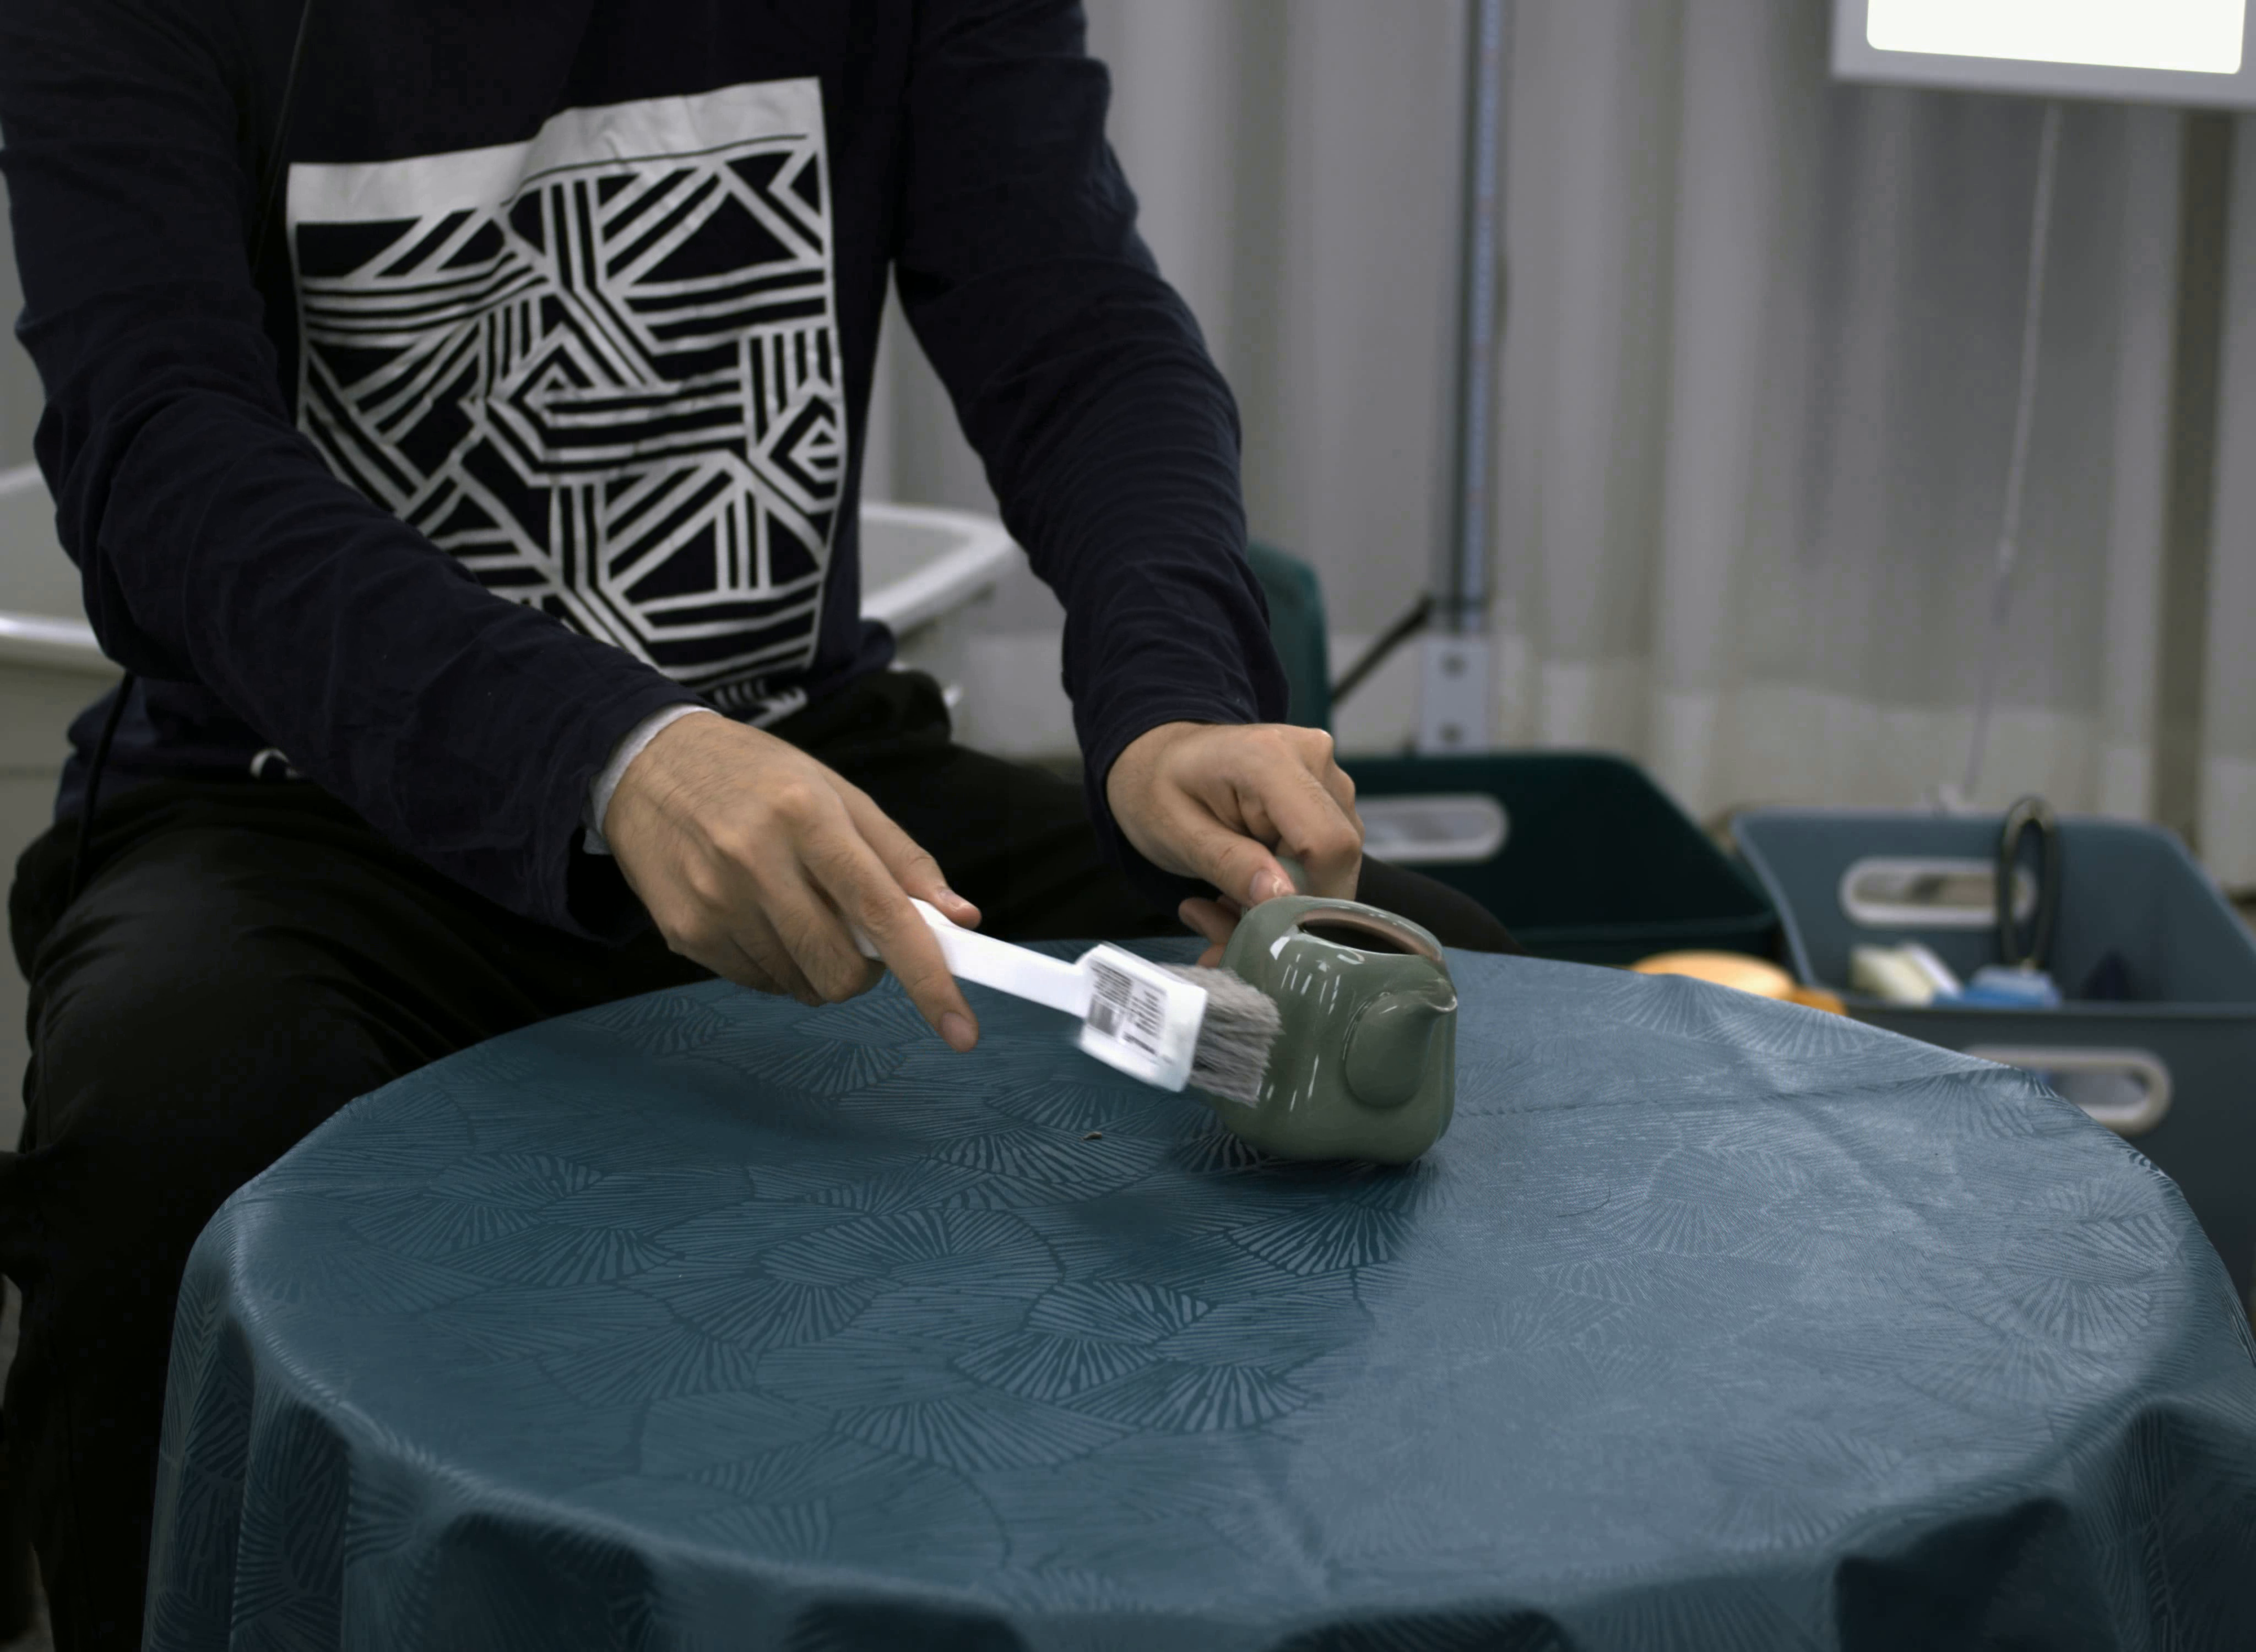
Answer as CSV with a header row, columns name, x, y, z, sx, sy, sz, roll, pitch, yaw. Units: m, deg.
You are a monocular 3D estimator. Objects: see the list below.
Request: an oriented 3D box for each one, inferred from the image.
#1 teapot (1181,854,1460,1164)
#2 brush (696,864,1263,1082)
name,x,y,z,sx,sy,sz,roll,pitch,yaw
teapot,0.063,0.062,1.654,0.080,0.075,0.131,5,17,-28
brush,-0.047,0.043,1.655,0.050,0.034,0.240,4,6,-43
